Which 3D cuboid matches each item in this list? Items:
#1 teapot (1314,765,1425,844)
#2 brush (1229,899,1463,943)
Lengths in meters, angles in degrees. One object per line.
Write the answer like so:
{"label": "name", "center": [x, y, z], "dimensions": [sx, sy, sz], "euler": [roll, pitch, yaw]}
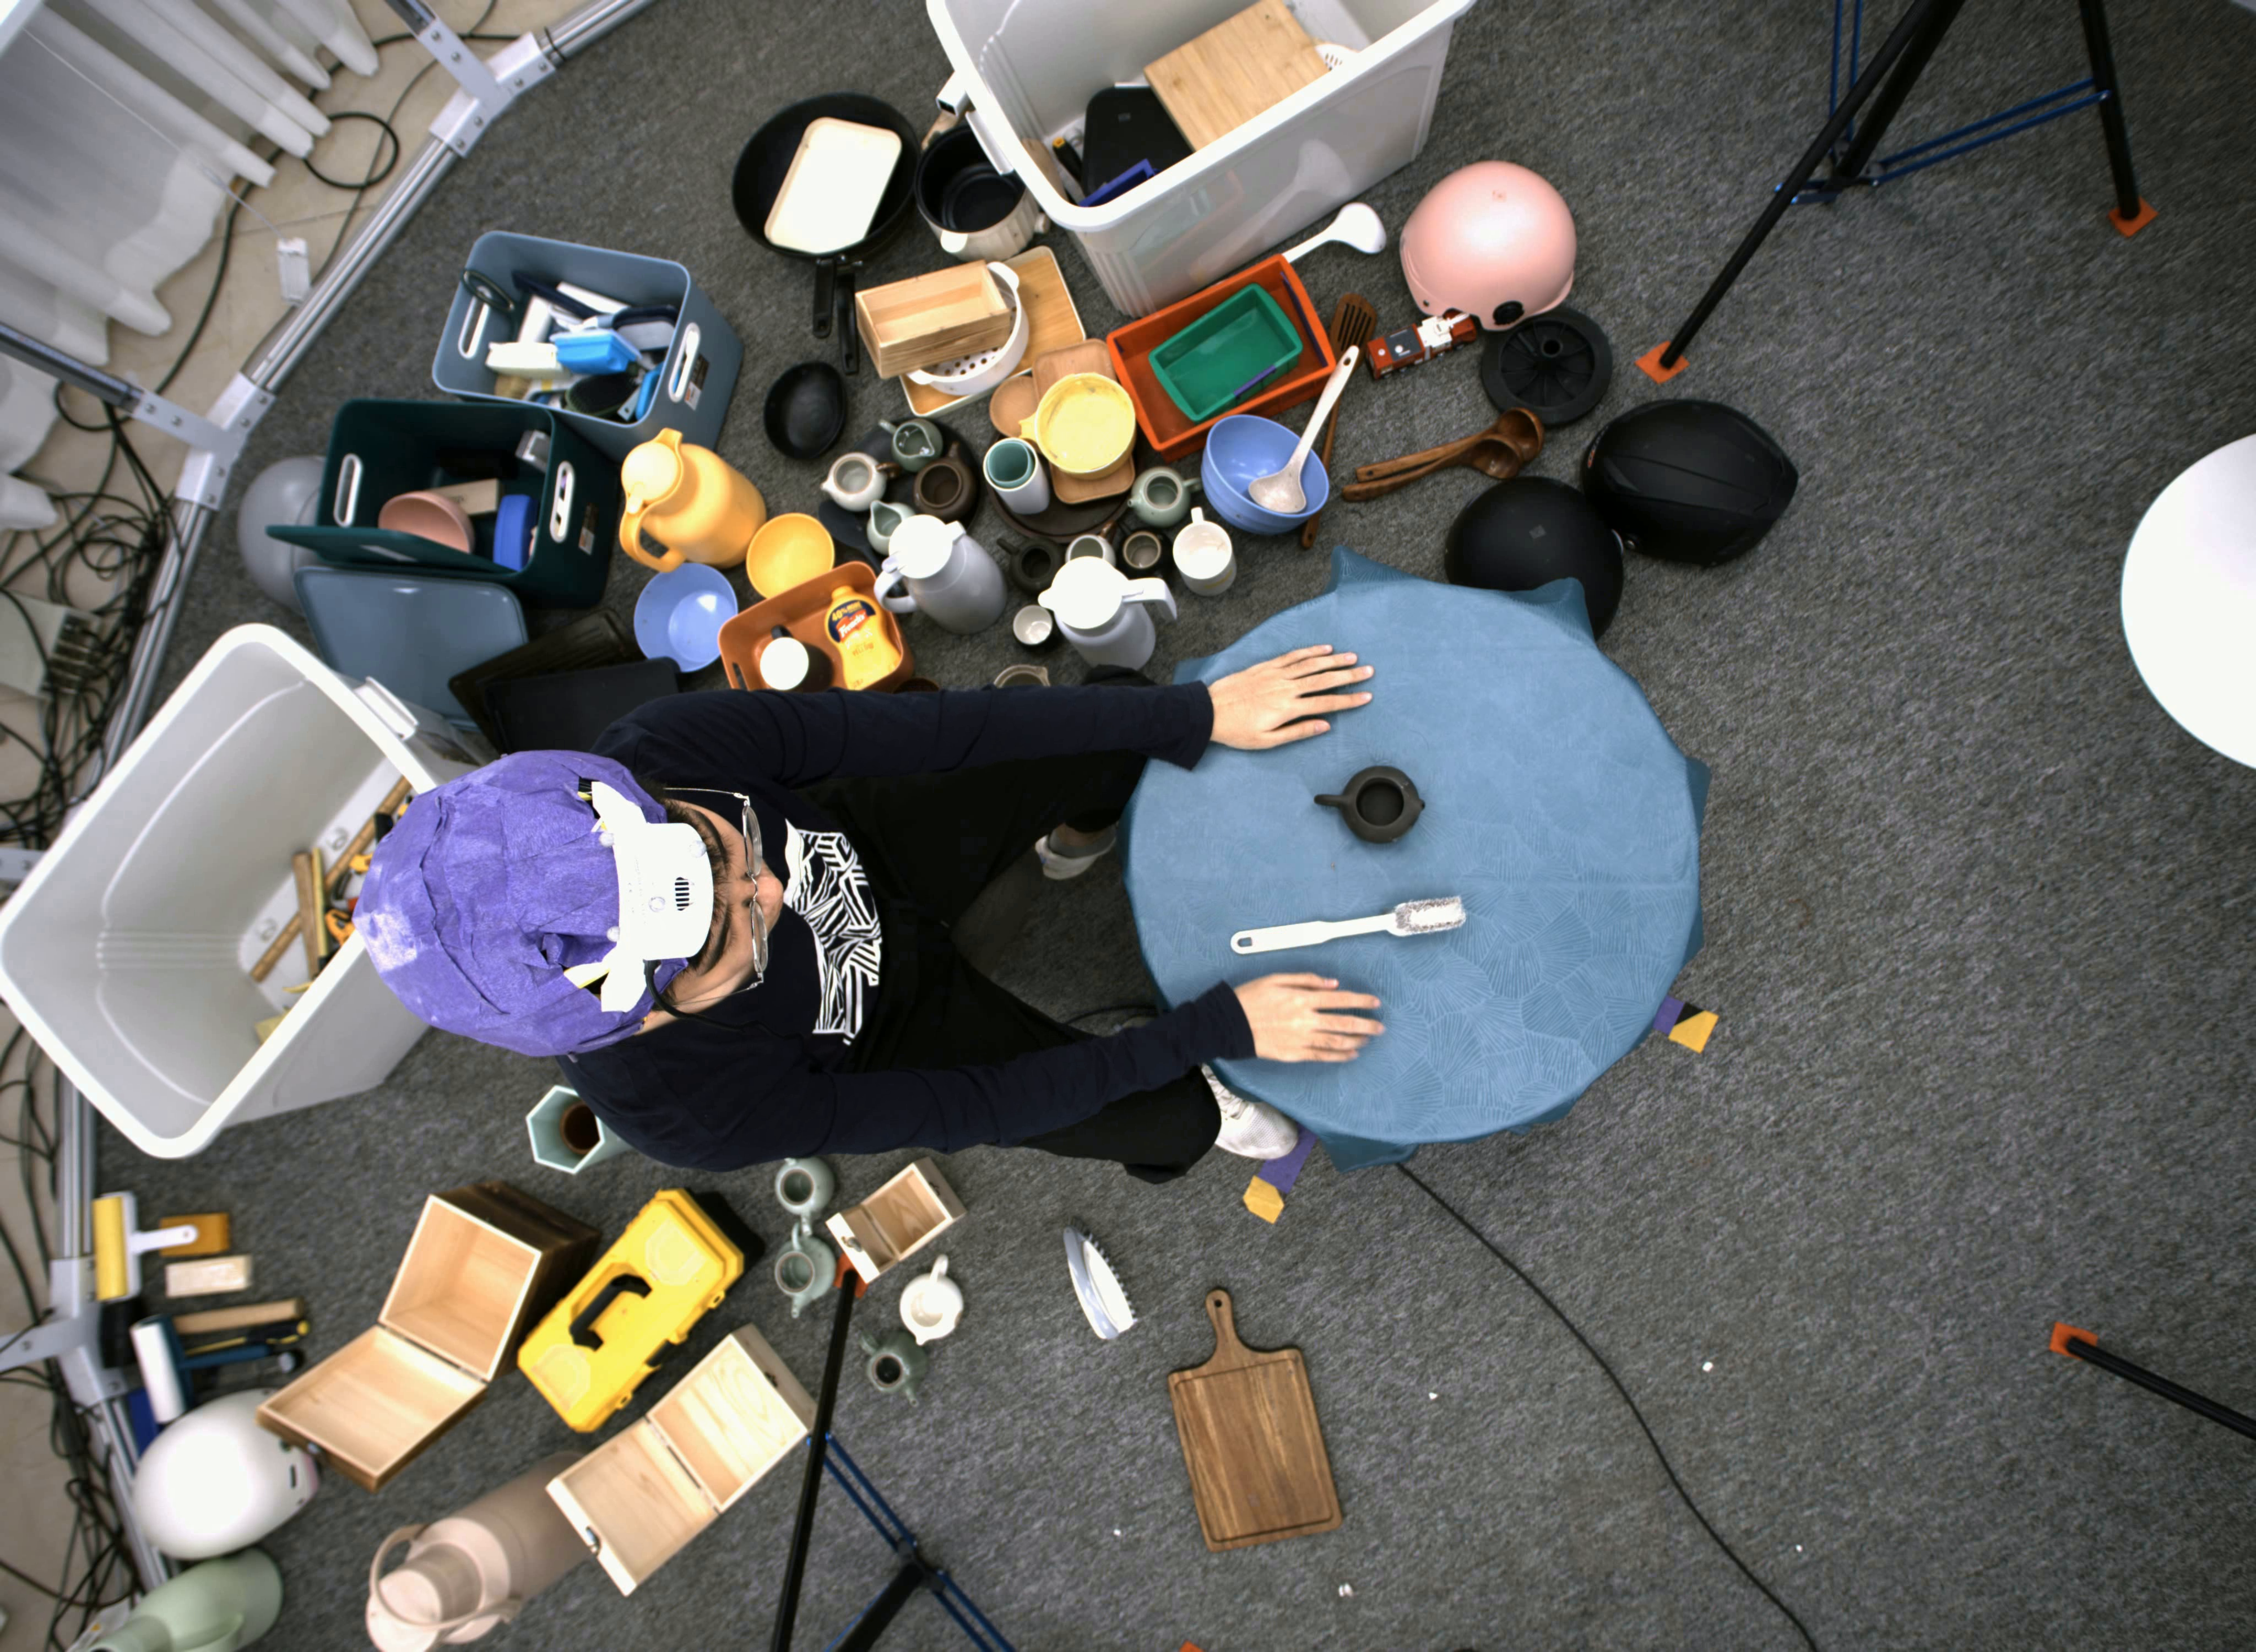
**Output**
{"label": "teapot", "center": [0.252, -0.025, 1.441], "dimensions": [0.114, 0.053, 0.083], "euler": [5, 88, 10]}
{"label": "brush", "center": [0.225, 0.101, 1.442], "dimensions": [0.245, 0.050, 0.034], "euler": [-6, 89, 10]}
